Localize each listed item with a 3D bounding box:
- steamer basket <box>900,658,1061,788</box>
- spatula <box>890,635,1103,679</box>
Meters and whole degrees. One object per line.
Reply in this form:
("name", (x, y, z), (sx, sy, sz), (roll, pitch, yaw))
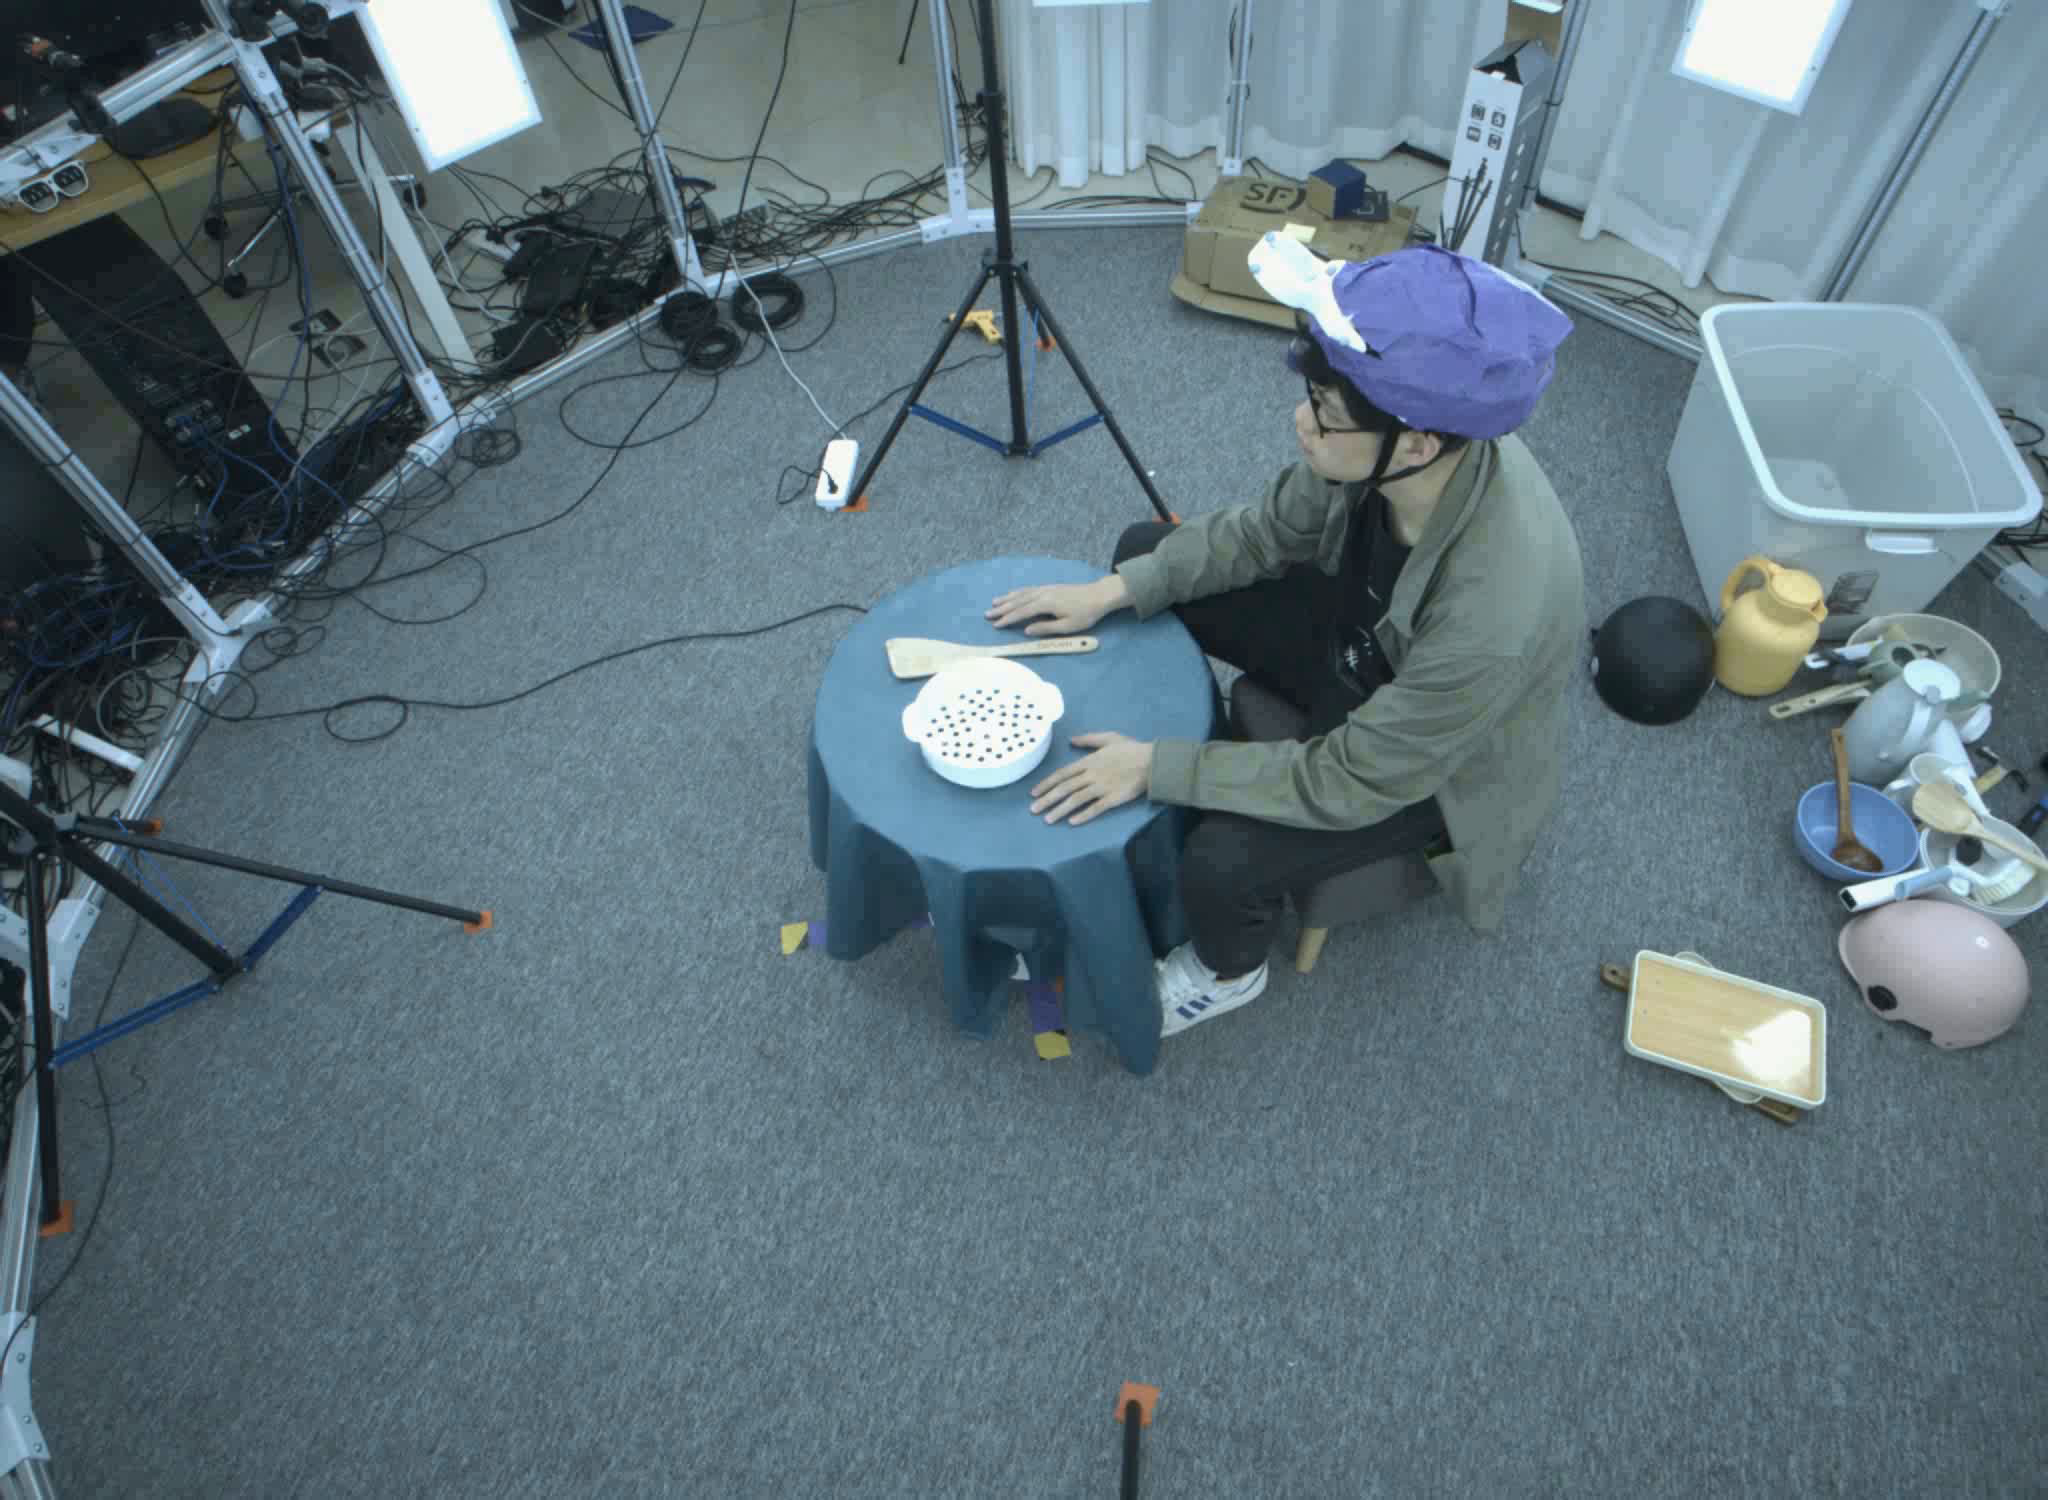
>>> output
("steamer basket", (-0.062, -0.037, 1.781), (0.231, 0.070, 0.199), (-7, 55, -5))
("spatula", (-0.042, -0.153, 1.892), (0.328, 0.017, 0.079), (-6, 55, -2))
